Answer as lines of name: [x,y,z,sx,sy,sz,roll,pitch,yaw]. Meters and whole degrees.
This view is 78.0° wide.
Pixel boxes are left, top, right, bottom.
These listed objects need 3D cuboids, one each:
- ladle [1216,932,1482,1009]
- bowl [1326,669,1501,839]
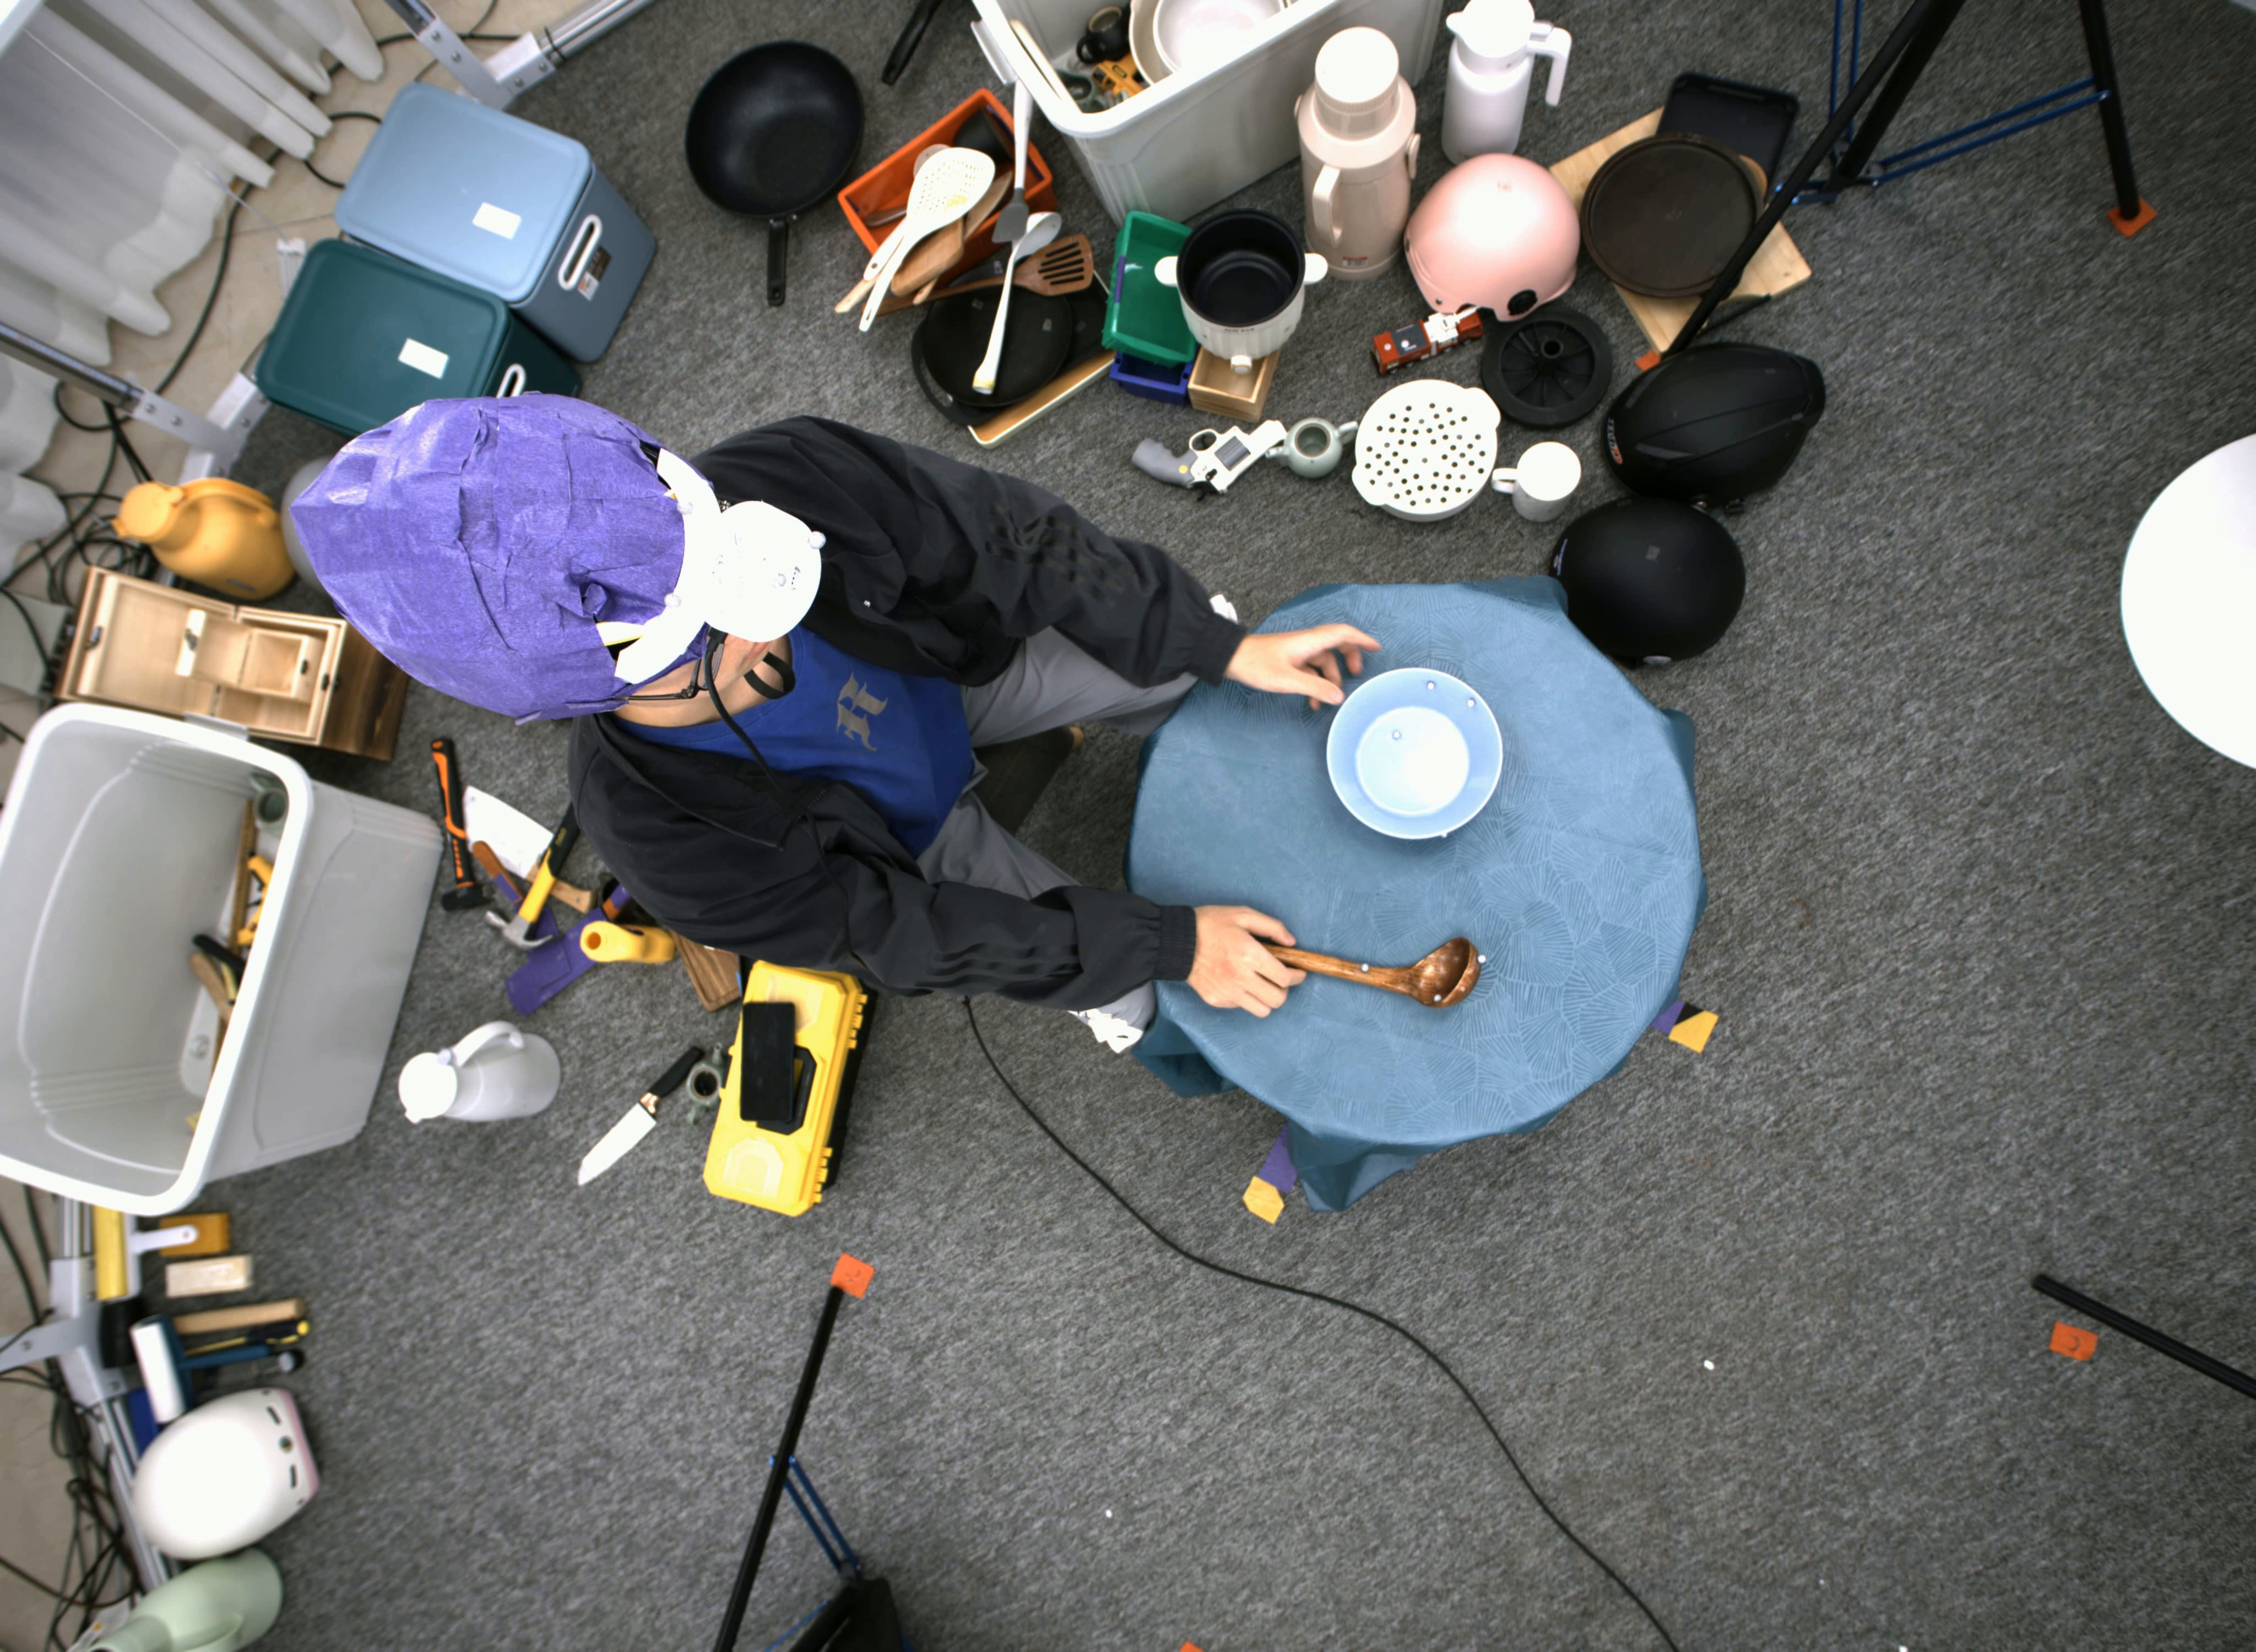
ladle: [0.225,0.129,1.429,0.274,0.080,0.078,13,132,13]
bowl: [0.294,-0.072,1.425,0.177,0.070,0.175,-1,86,11]
